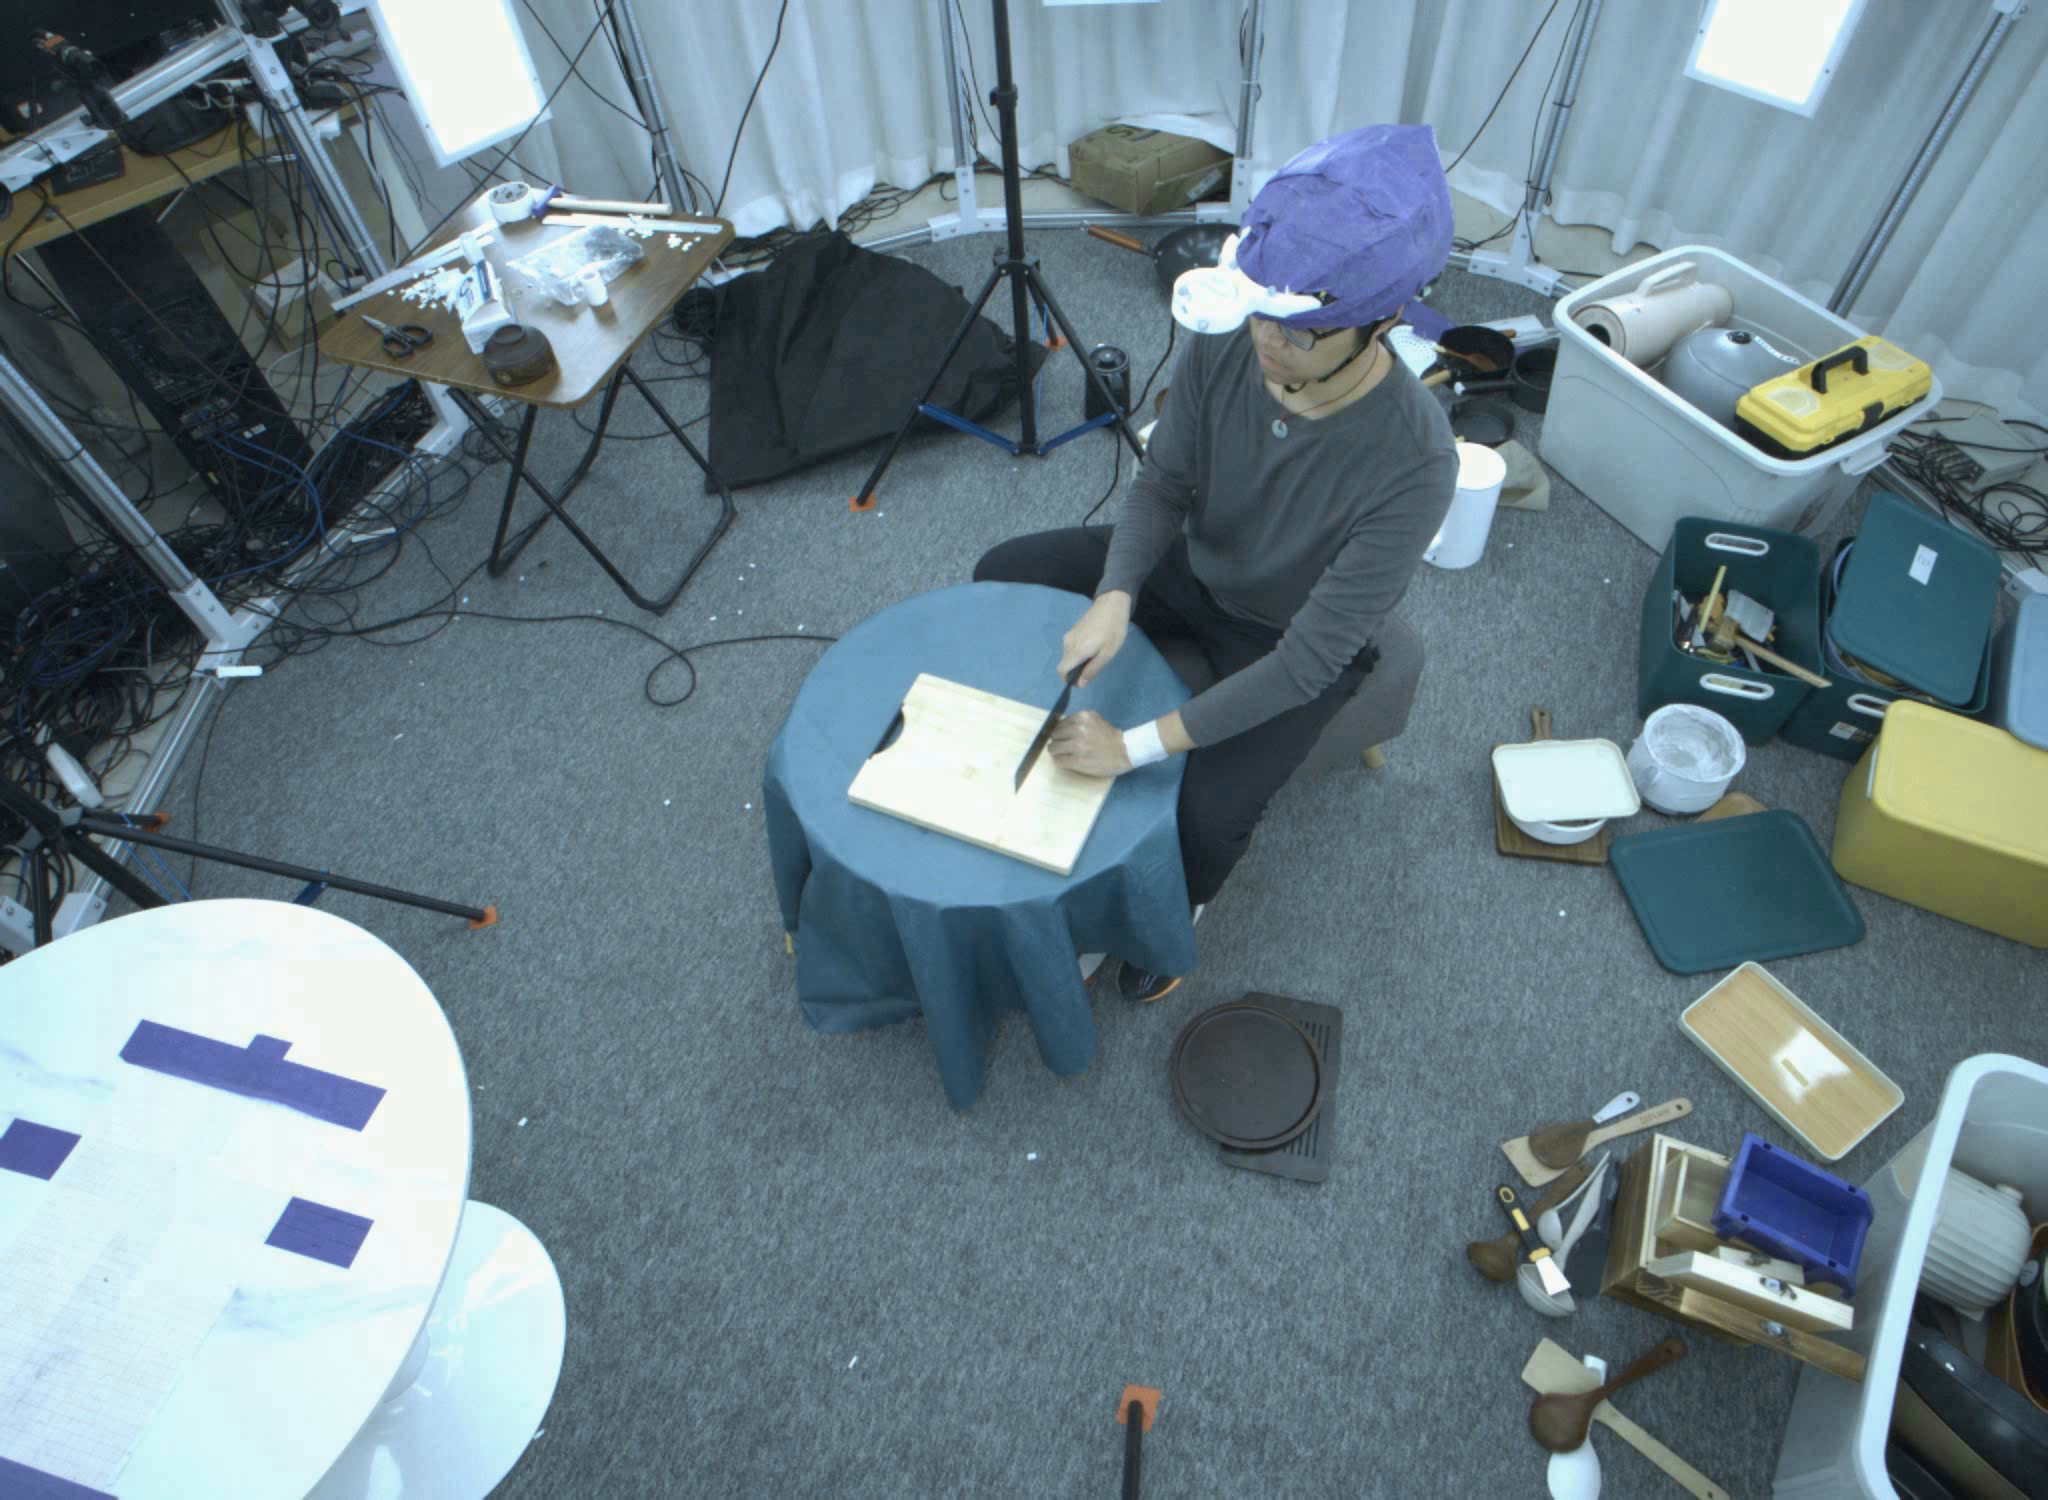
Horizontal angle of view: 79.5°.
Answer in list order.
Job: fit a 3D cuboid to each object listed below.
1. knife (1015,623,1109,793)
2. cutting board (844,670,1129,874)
[{"bbox_3d":[0.053,-0.067,1.723,0.020,0.081,0.302,22,59,12],"label":"knife"},{"bbox_3d":[-0.053,0.024,1.769,0.345,0.024,0.250,17,56,13],"label":"cutting board"}]
